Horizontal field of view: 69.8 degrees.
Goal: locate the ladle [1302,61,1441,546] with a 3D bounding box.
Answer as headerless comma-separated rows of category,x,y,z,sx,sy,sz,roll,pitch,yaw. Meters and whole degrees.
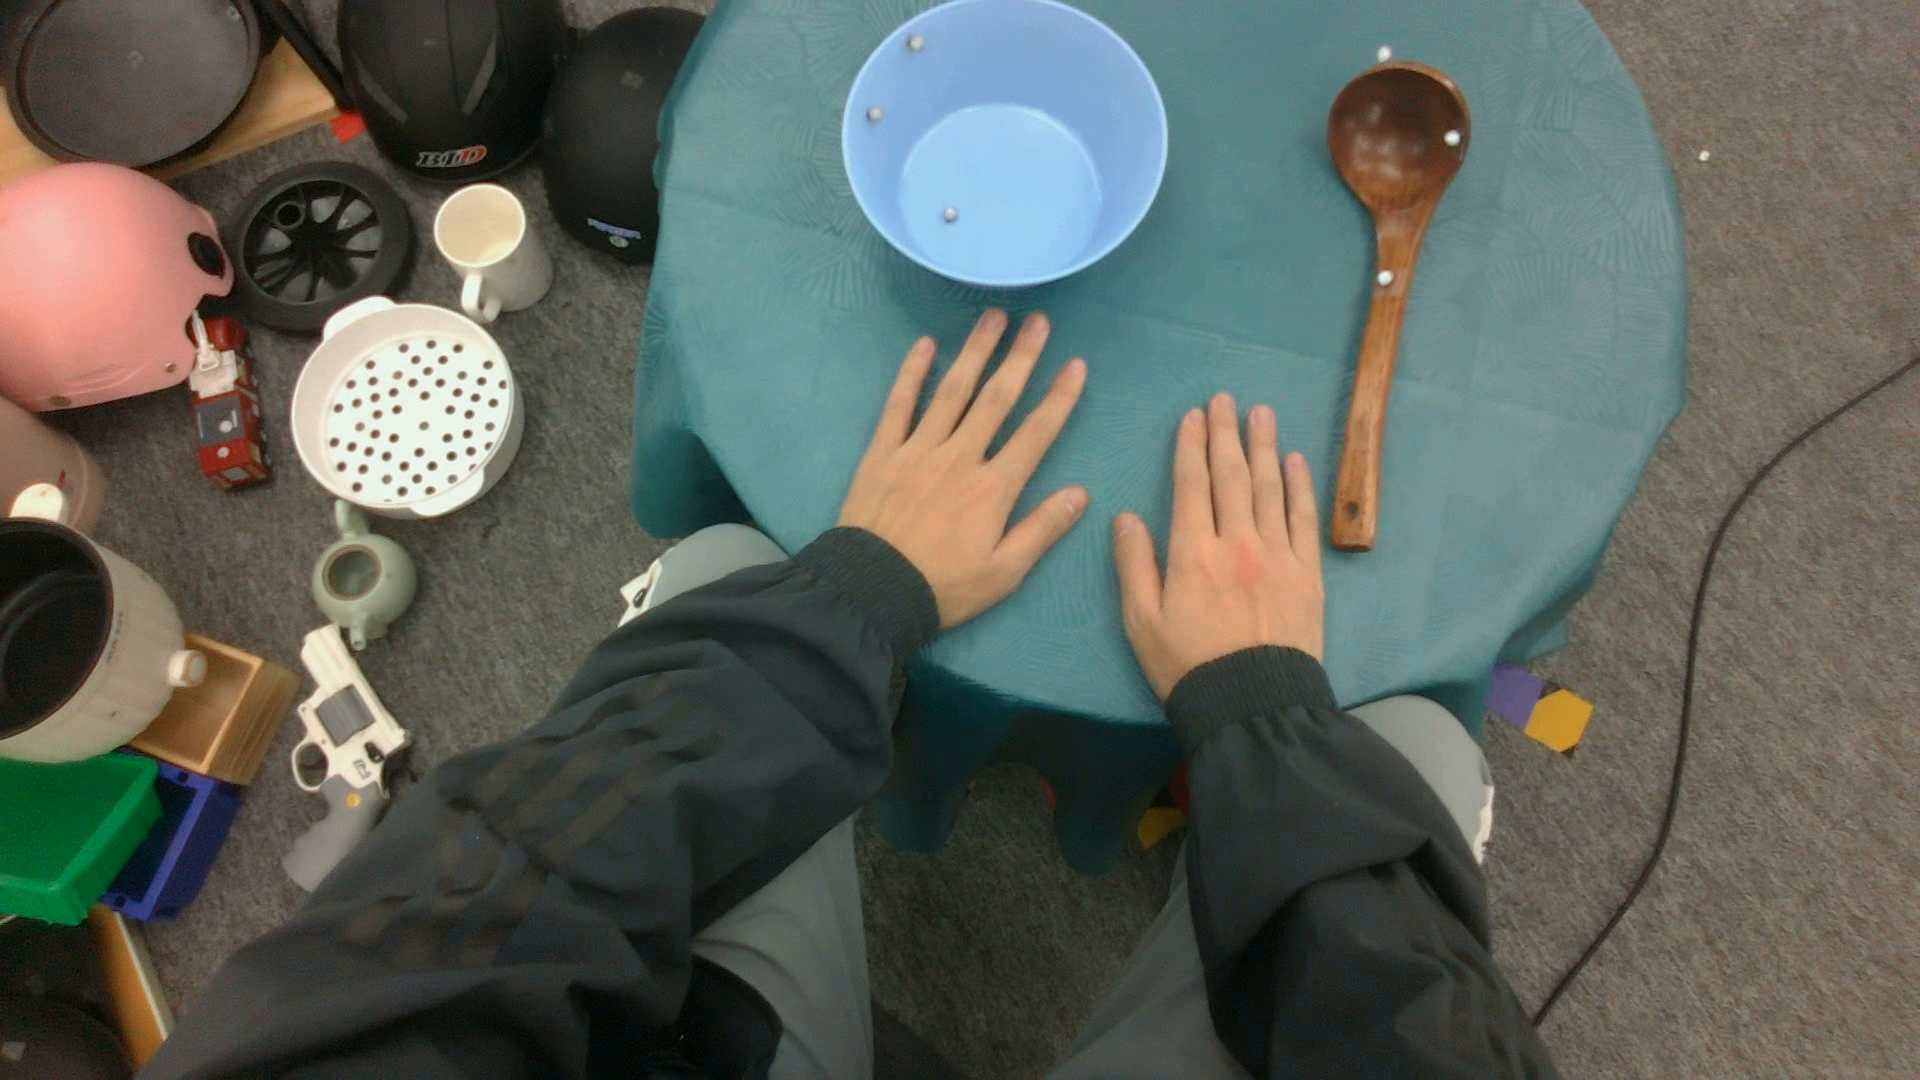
ladle,0.215,-0.137,0.770,0.081,0.076,0.275,-2,68,47

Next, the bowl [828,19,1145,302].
bowl,0.015,-0.204,0.789,0.176,0.070,0.176,0,73,0
